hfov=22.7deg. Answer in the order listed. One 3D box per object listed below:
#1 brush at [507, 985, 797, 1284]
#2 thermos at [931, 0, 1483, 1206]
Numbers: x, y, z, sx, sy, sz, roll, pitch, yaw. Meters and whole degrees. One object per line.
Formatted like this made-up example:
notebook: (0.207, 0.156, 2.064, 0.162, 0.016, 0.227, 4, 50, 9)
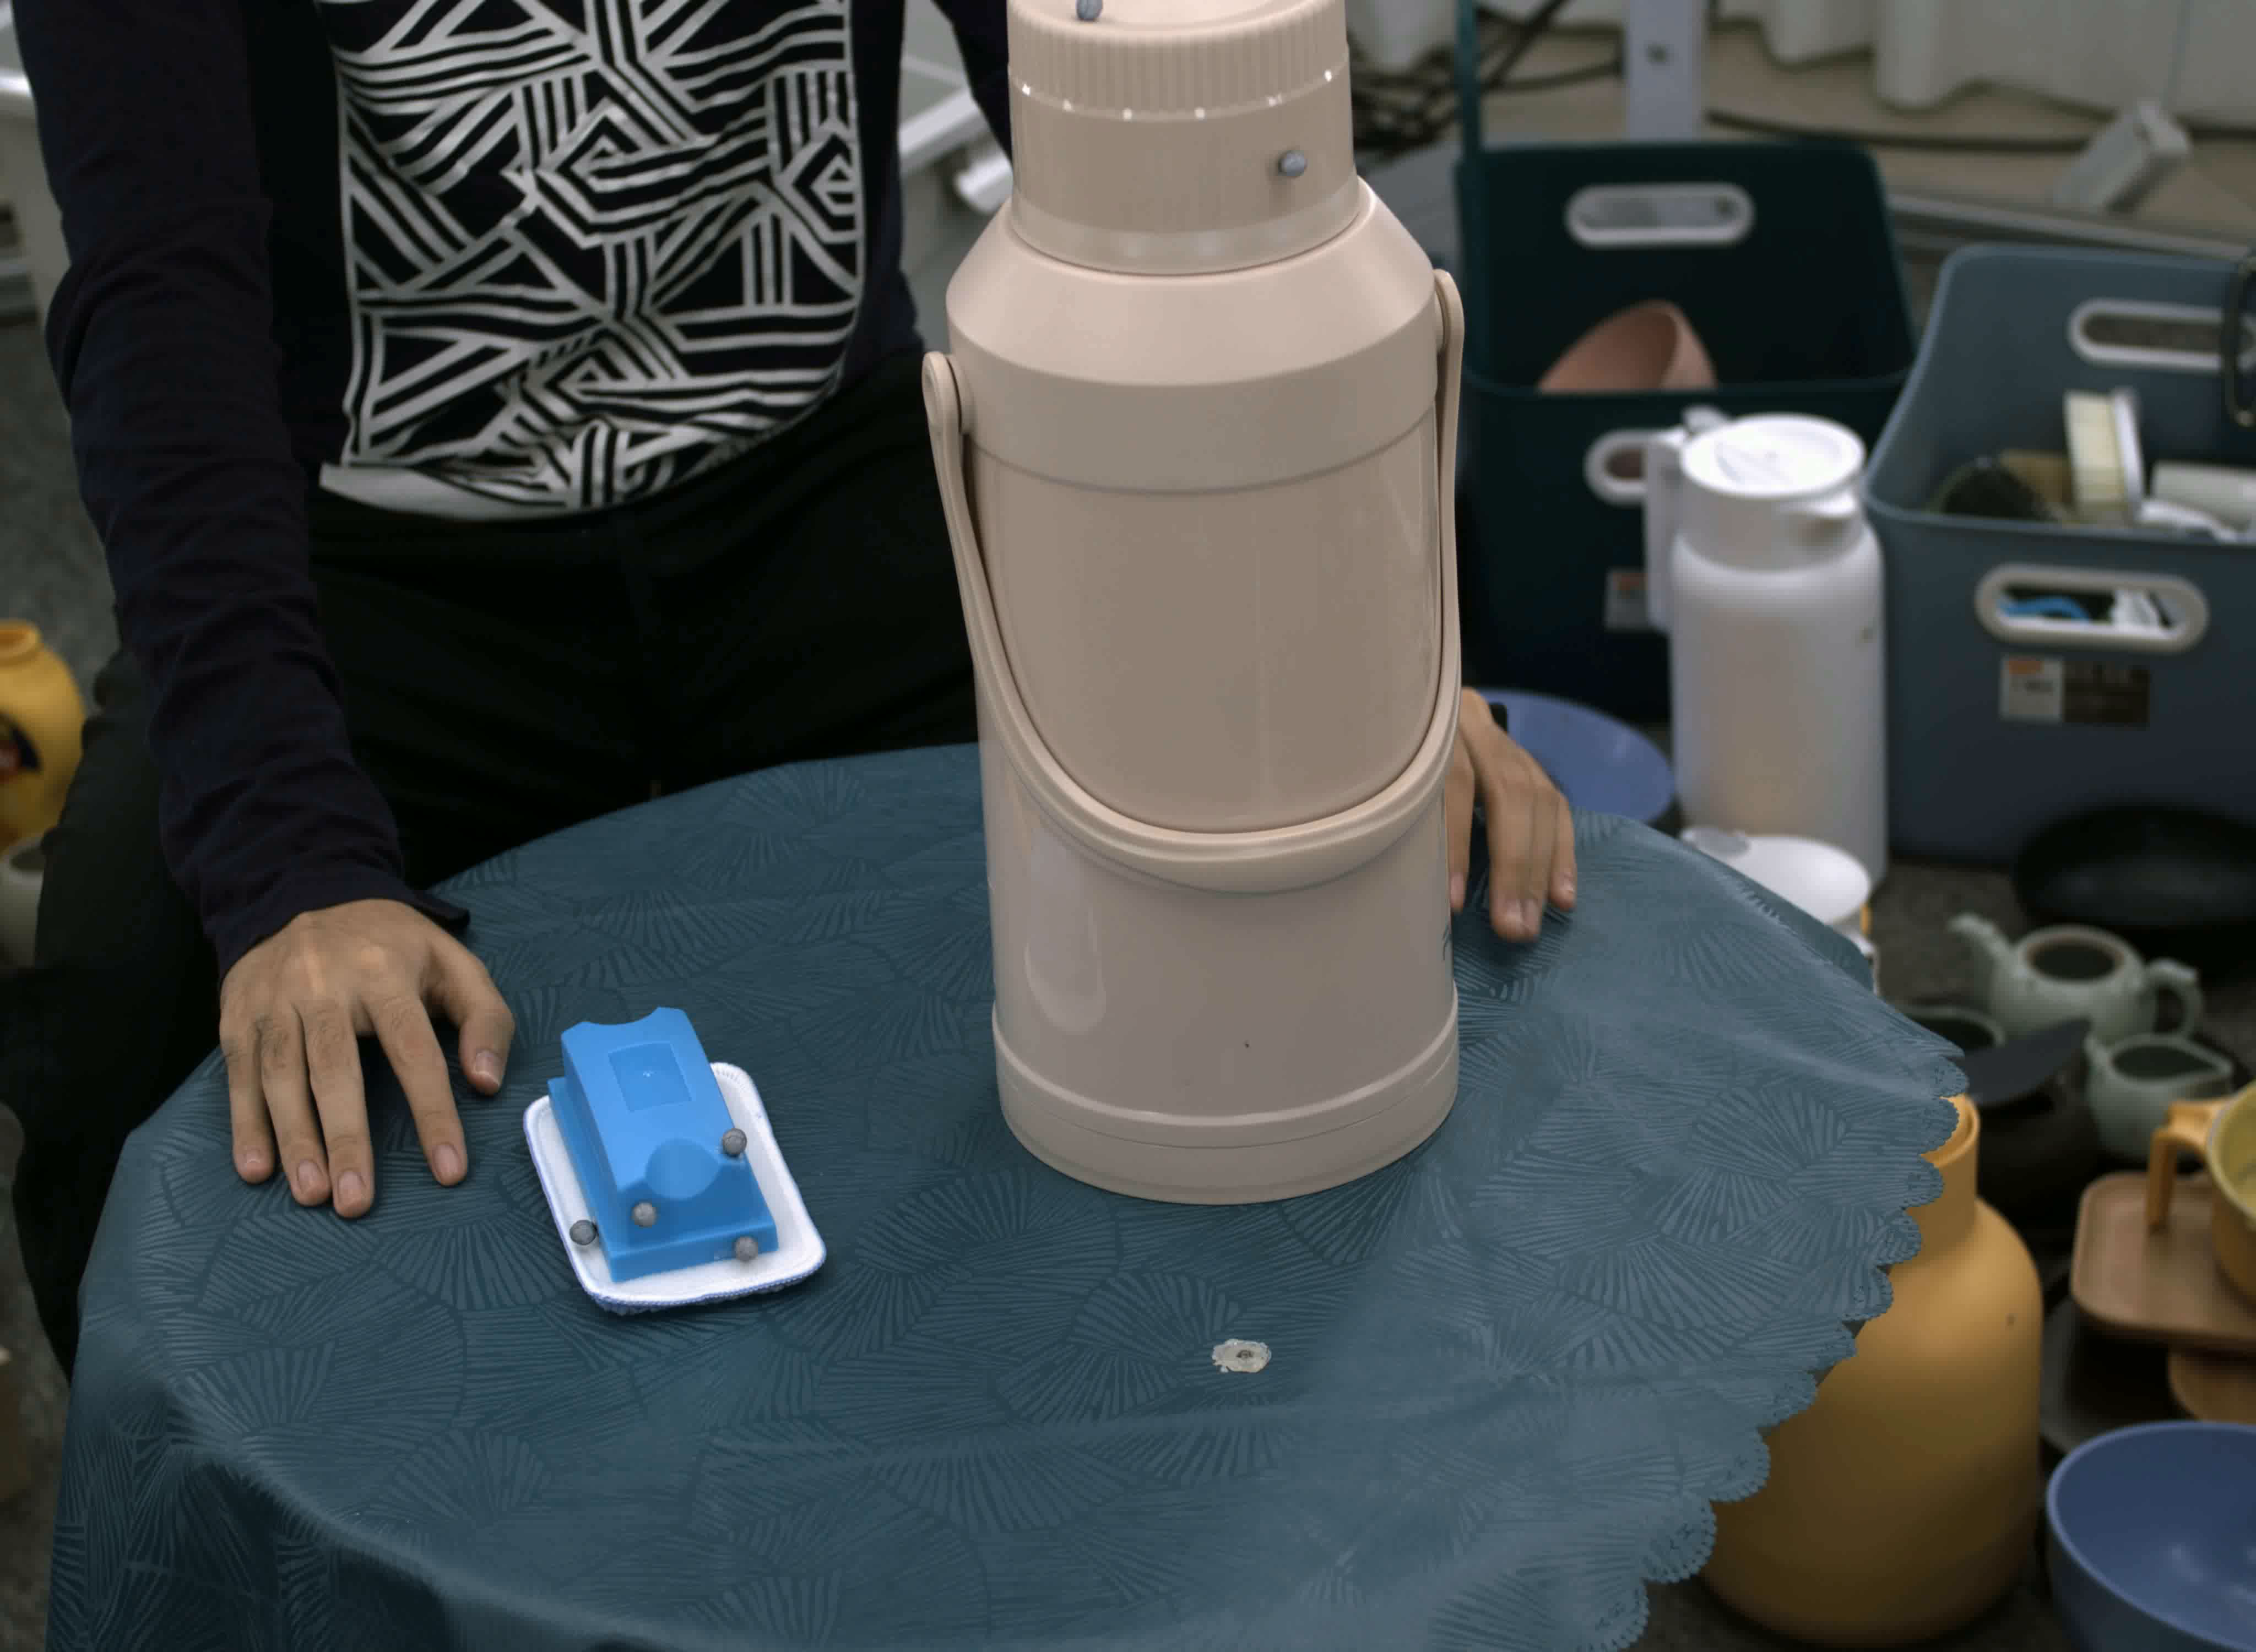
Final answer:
brush: (-0.157, 0.097, 1.855, 0.084, 0.055, 0.145, -6, 29, -12)
thermos: (0.026, -0.093, 1.846, 0.175, 0.402, 0.209, -12, 26, -14)
